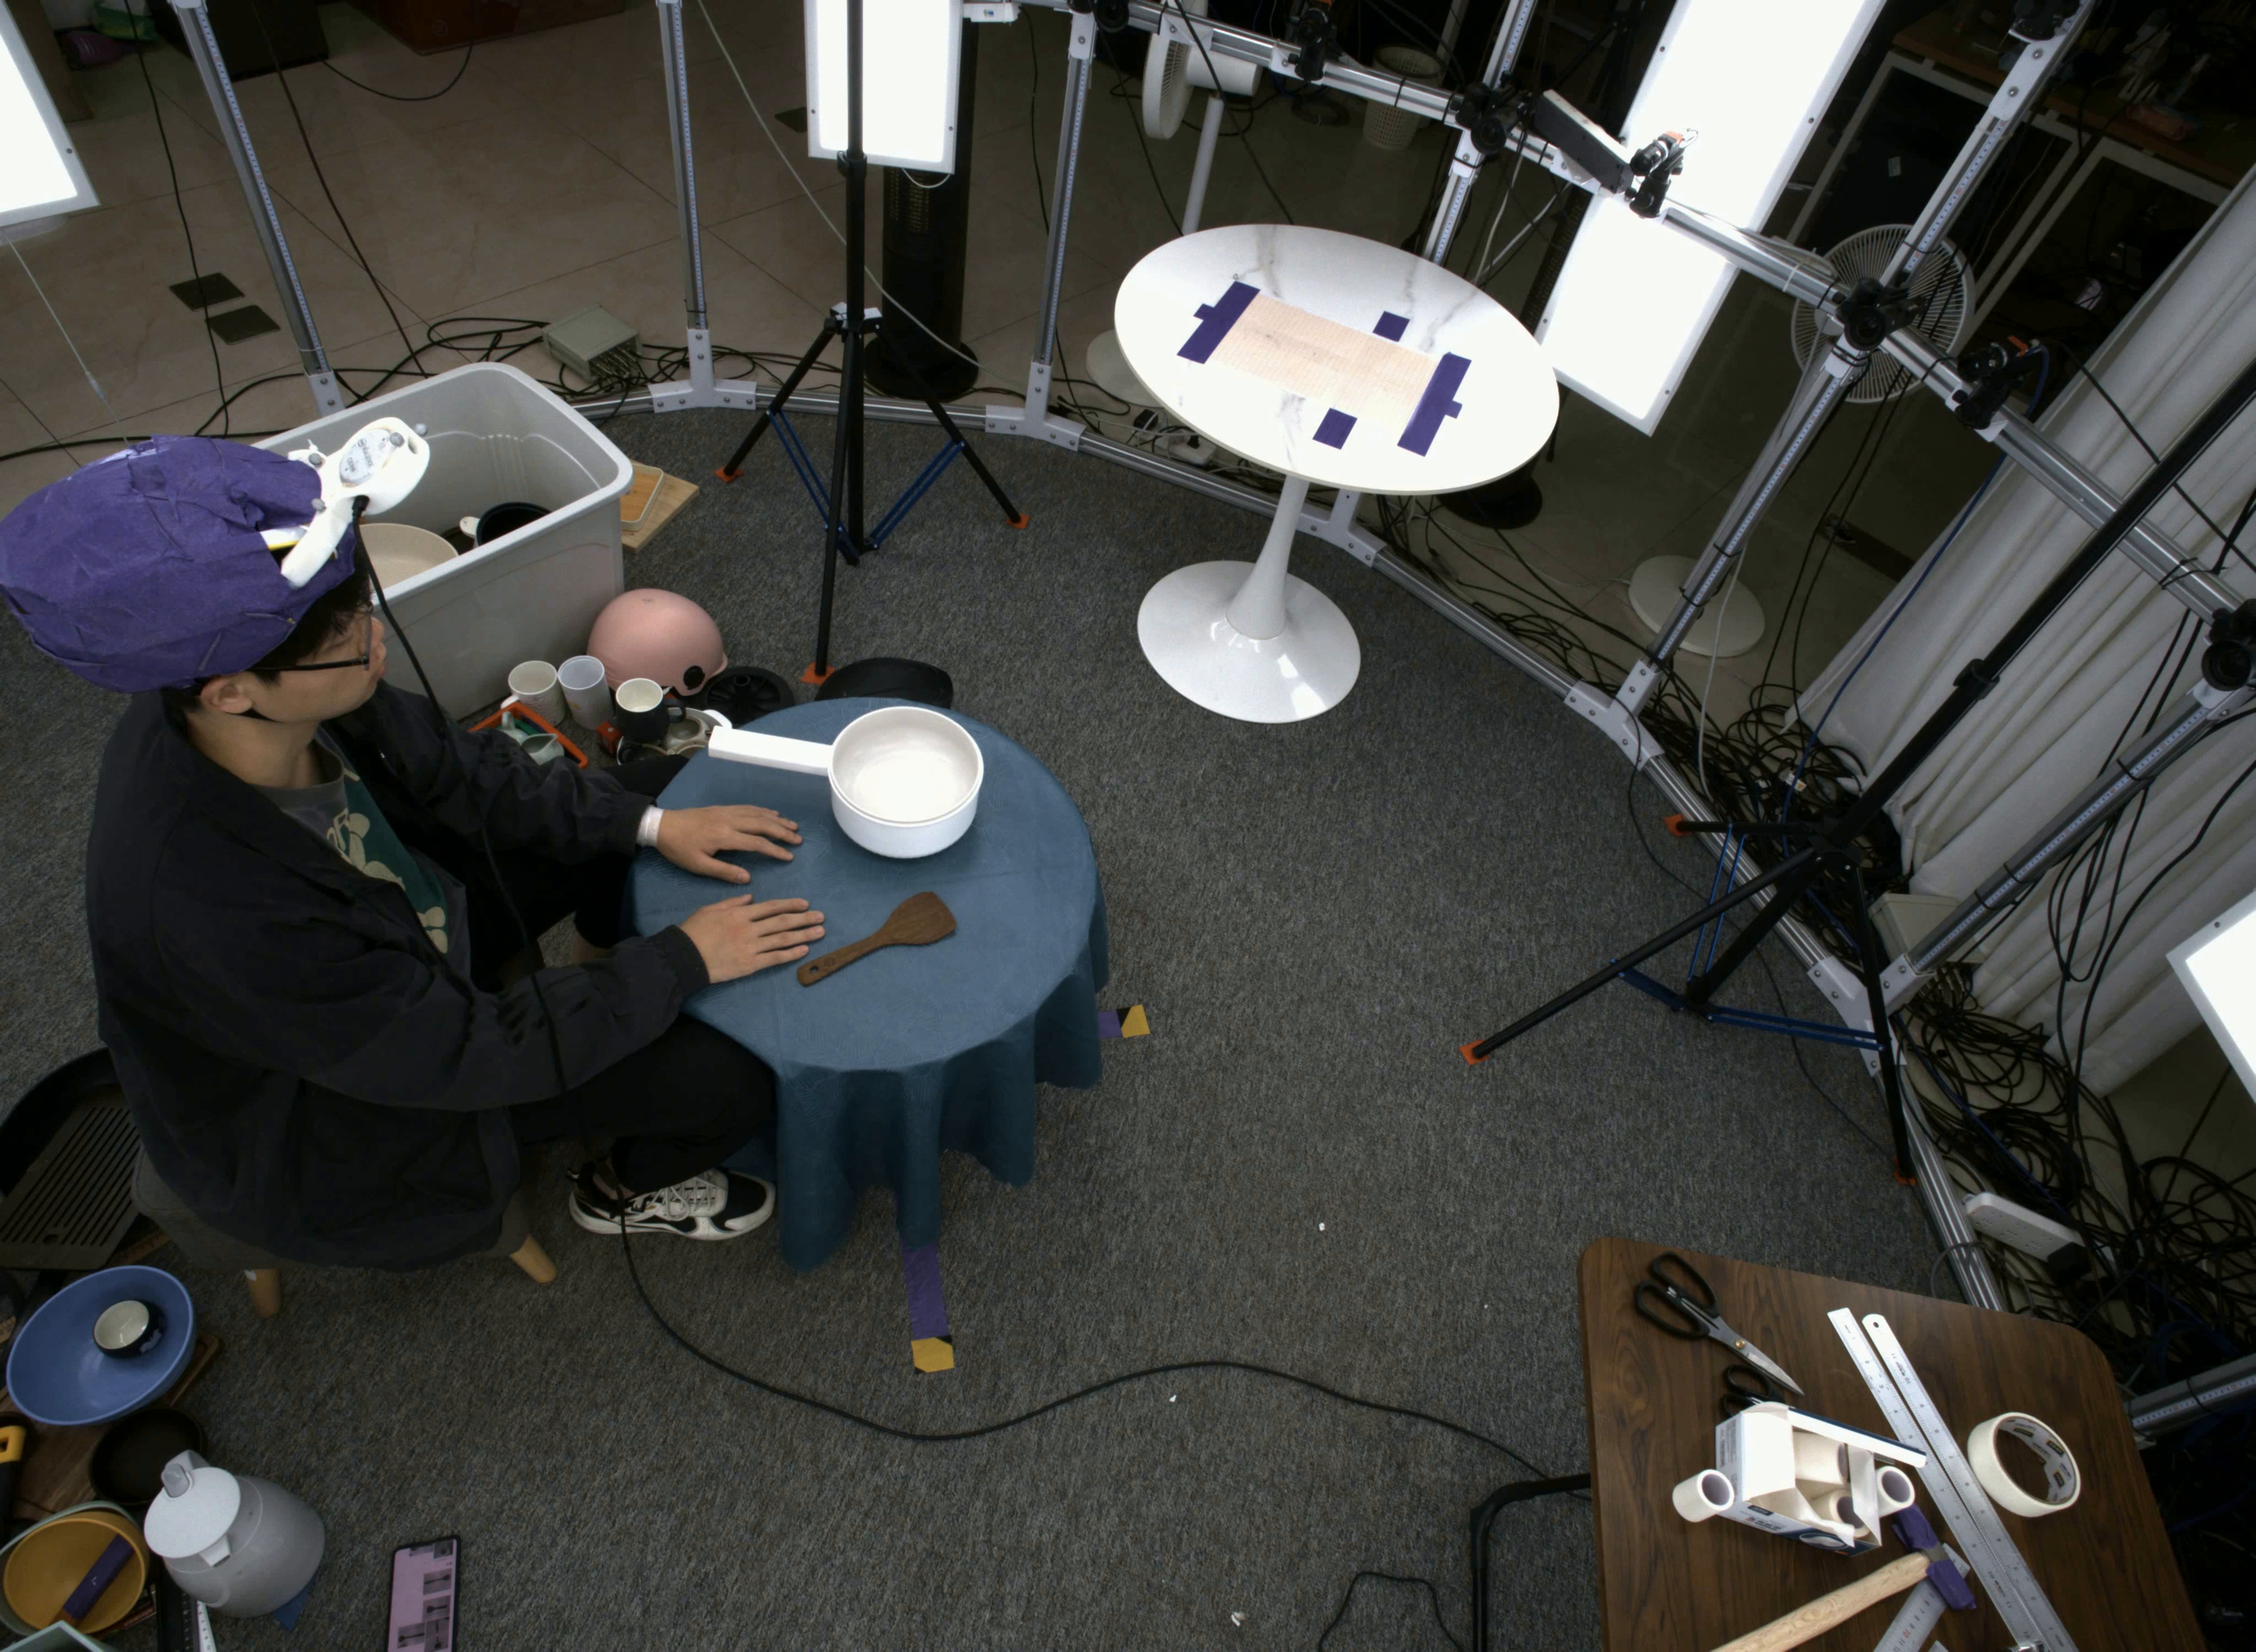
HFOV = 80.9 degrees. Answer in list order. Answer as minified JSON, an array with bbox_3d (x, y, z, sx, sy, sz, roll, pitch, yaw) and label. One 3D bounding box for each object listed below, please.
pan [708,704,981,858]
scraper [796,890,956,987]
[{"bbox_3d":[-0.373,-0.065,1.724,0.353,0.104,0.198,8,53,-6],"label":"pan"},{"bbox_3d":[-0.320,0.146,1.637,0.212,0.011,0.074,-26,63,-28],"label":"scraper"}]
